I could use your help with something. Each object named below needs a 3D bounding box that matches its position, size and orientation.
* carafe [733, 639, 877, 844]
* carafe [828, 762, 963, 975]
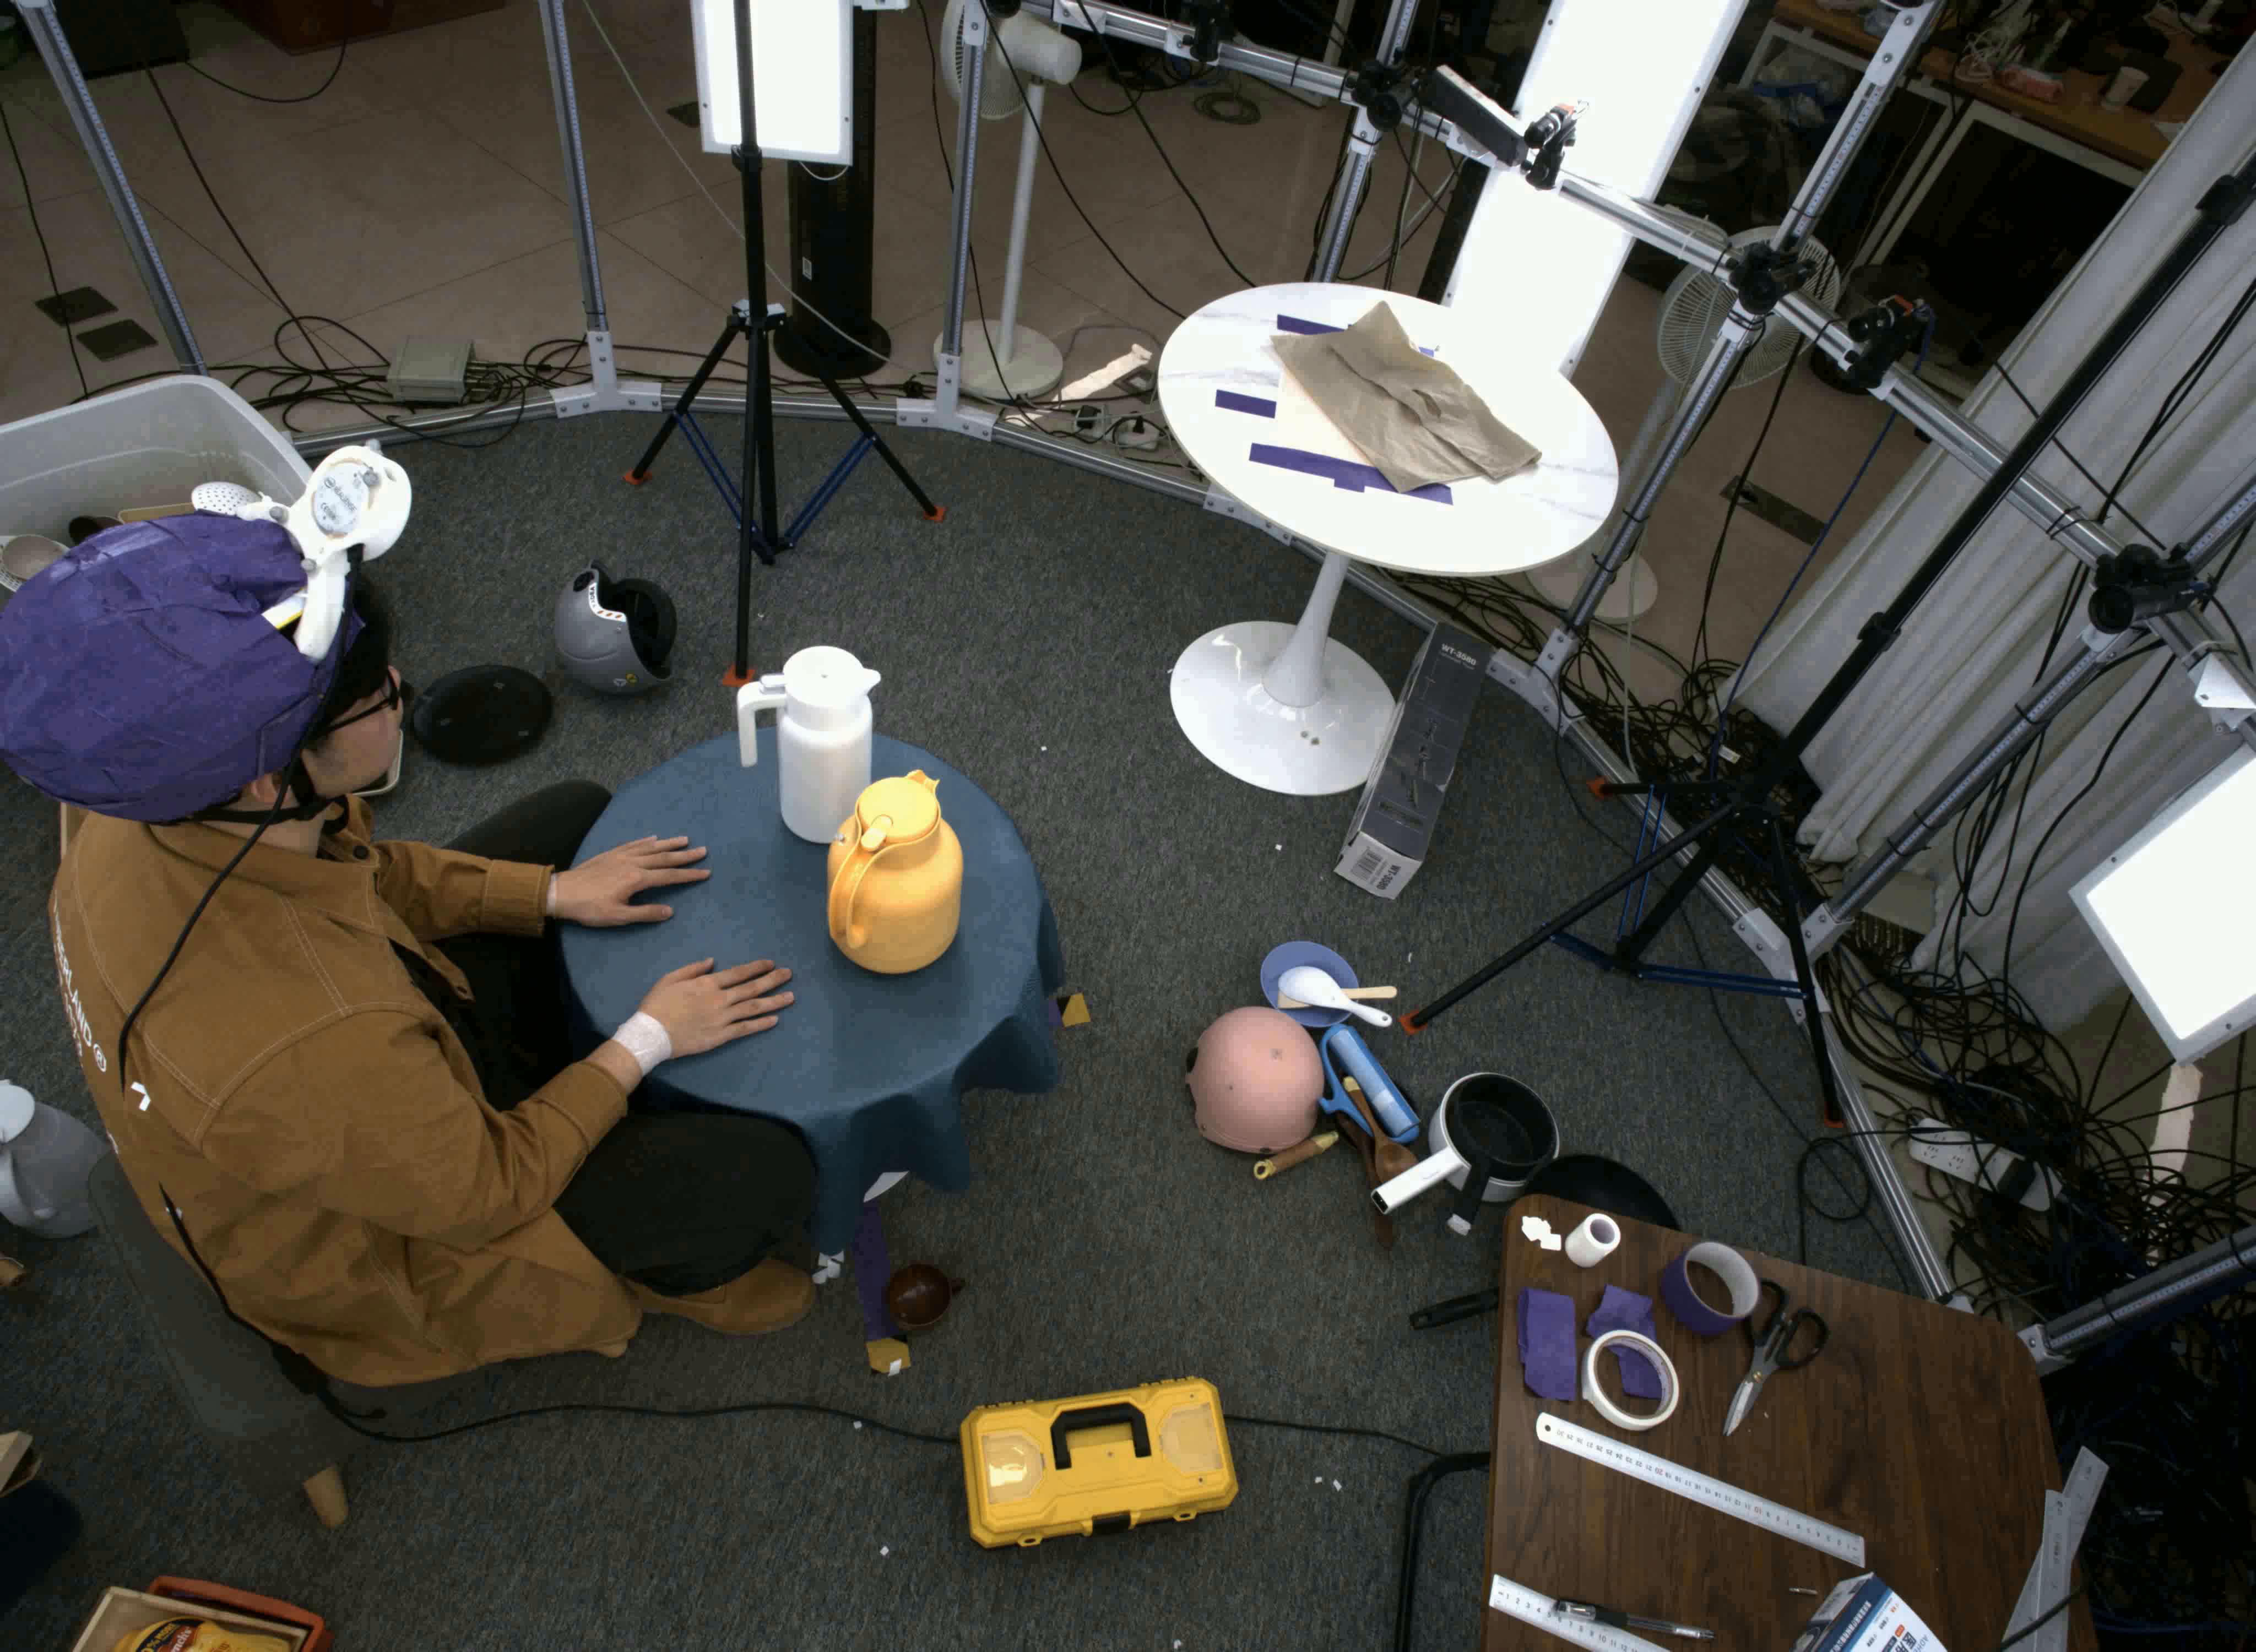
[{"bbox_3d":[-0.402,-0.100,1.629,0.173,0.274,0.121,-9,56,-18],"label":"carafe"},{"bbox_3d":[-0.287,0.060,1.542,0.160,0.267,0.201,25,50,12],"label":"carafe"}]
